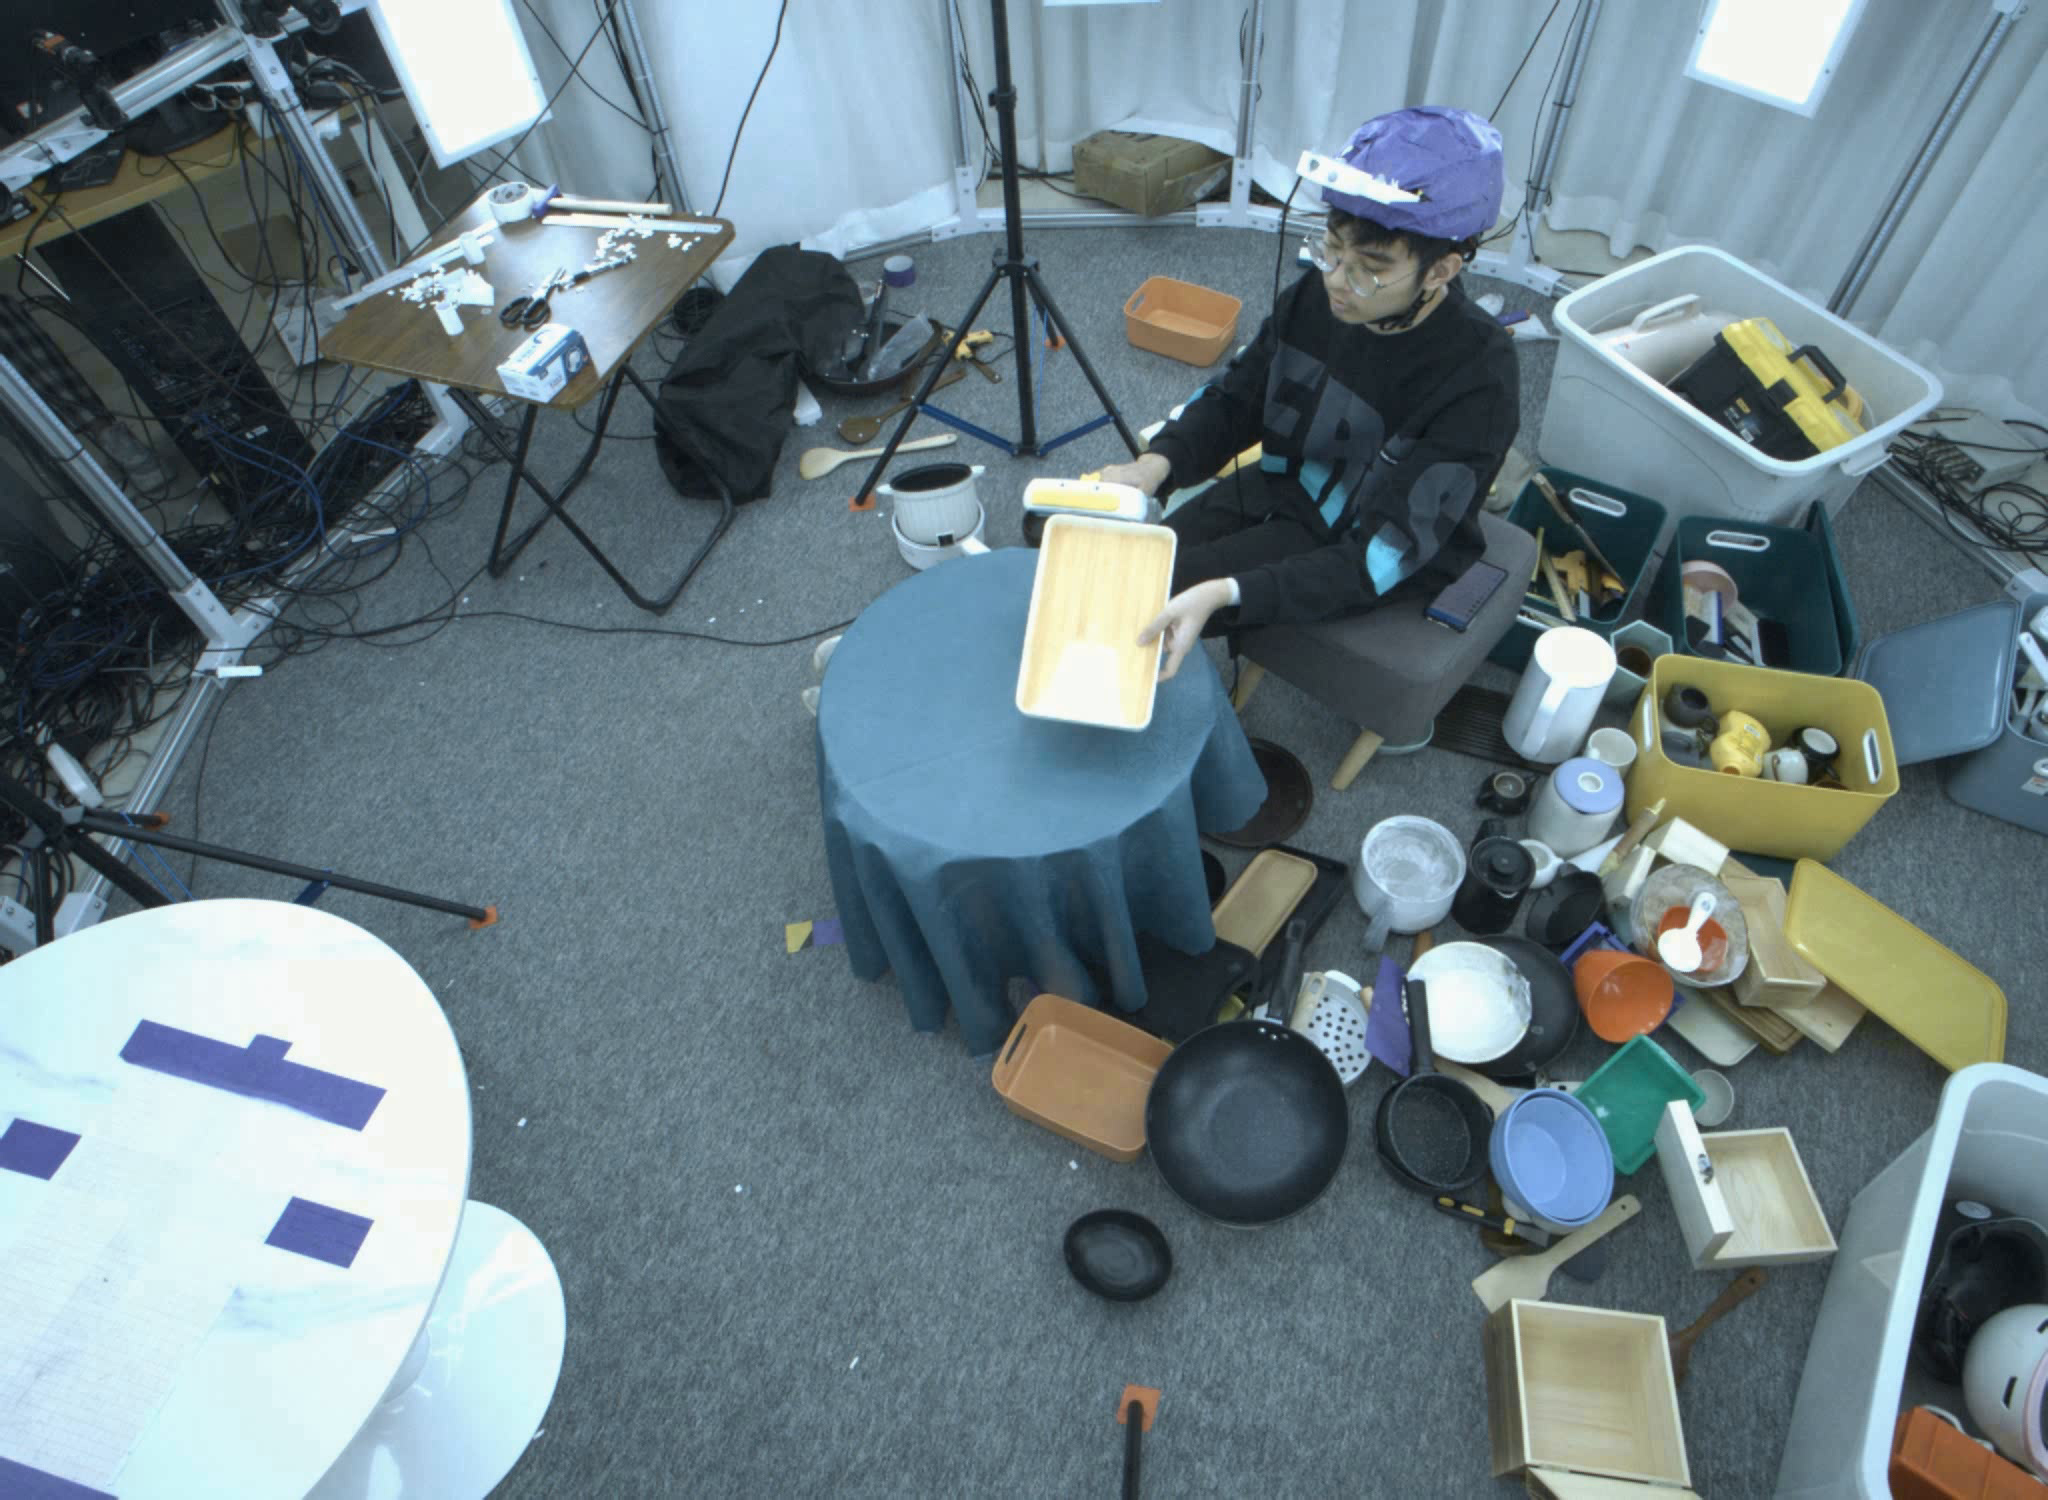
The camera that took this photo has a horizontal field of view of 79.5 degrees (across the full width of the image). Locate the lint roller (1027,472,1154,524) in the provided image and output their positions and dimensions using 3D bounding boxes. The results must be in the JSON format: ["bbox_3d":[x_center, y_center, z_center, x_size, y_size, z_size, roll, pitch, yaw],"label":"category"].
[{"bbox_3d":[0.121,-0.378,1.850,0.190,0.195,0.074,6,97,24],"label":"lint roller"}]

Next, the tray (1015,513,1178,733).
[{"bbox_3d":[0.103,-0.182,1.732,0.191,0.027,0.299,9,80,3],"label":"tray"}]
